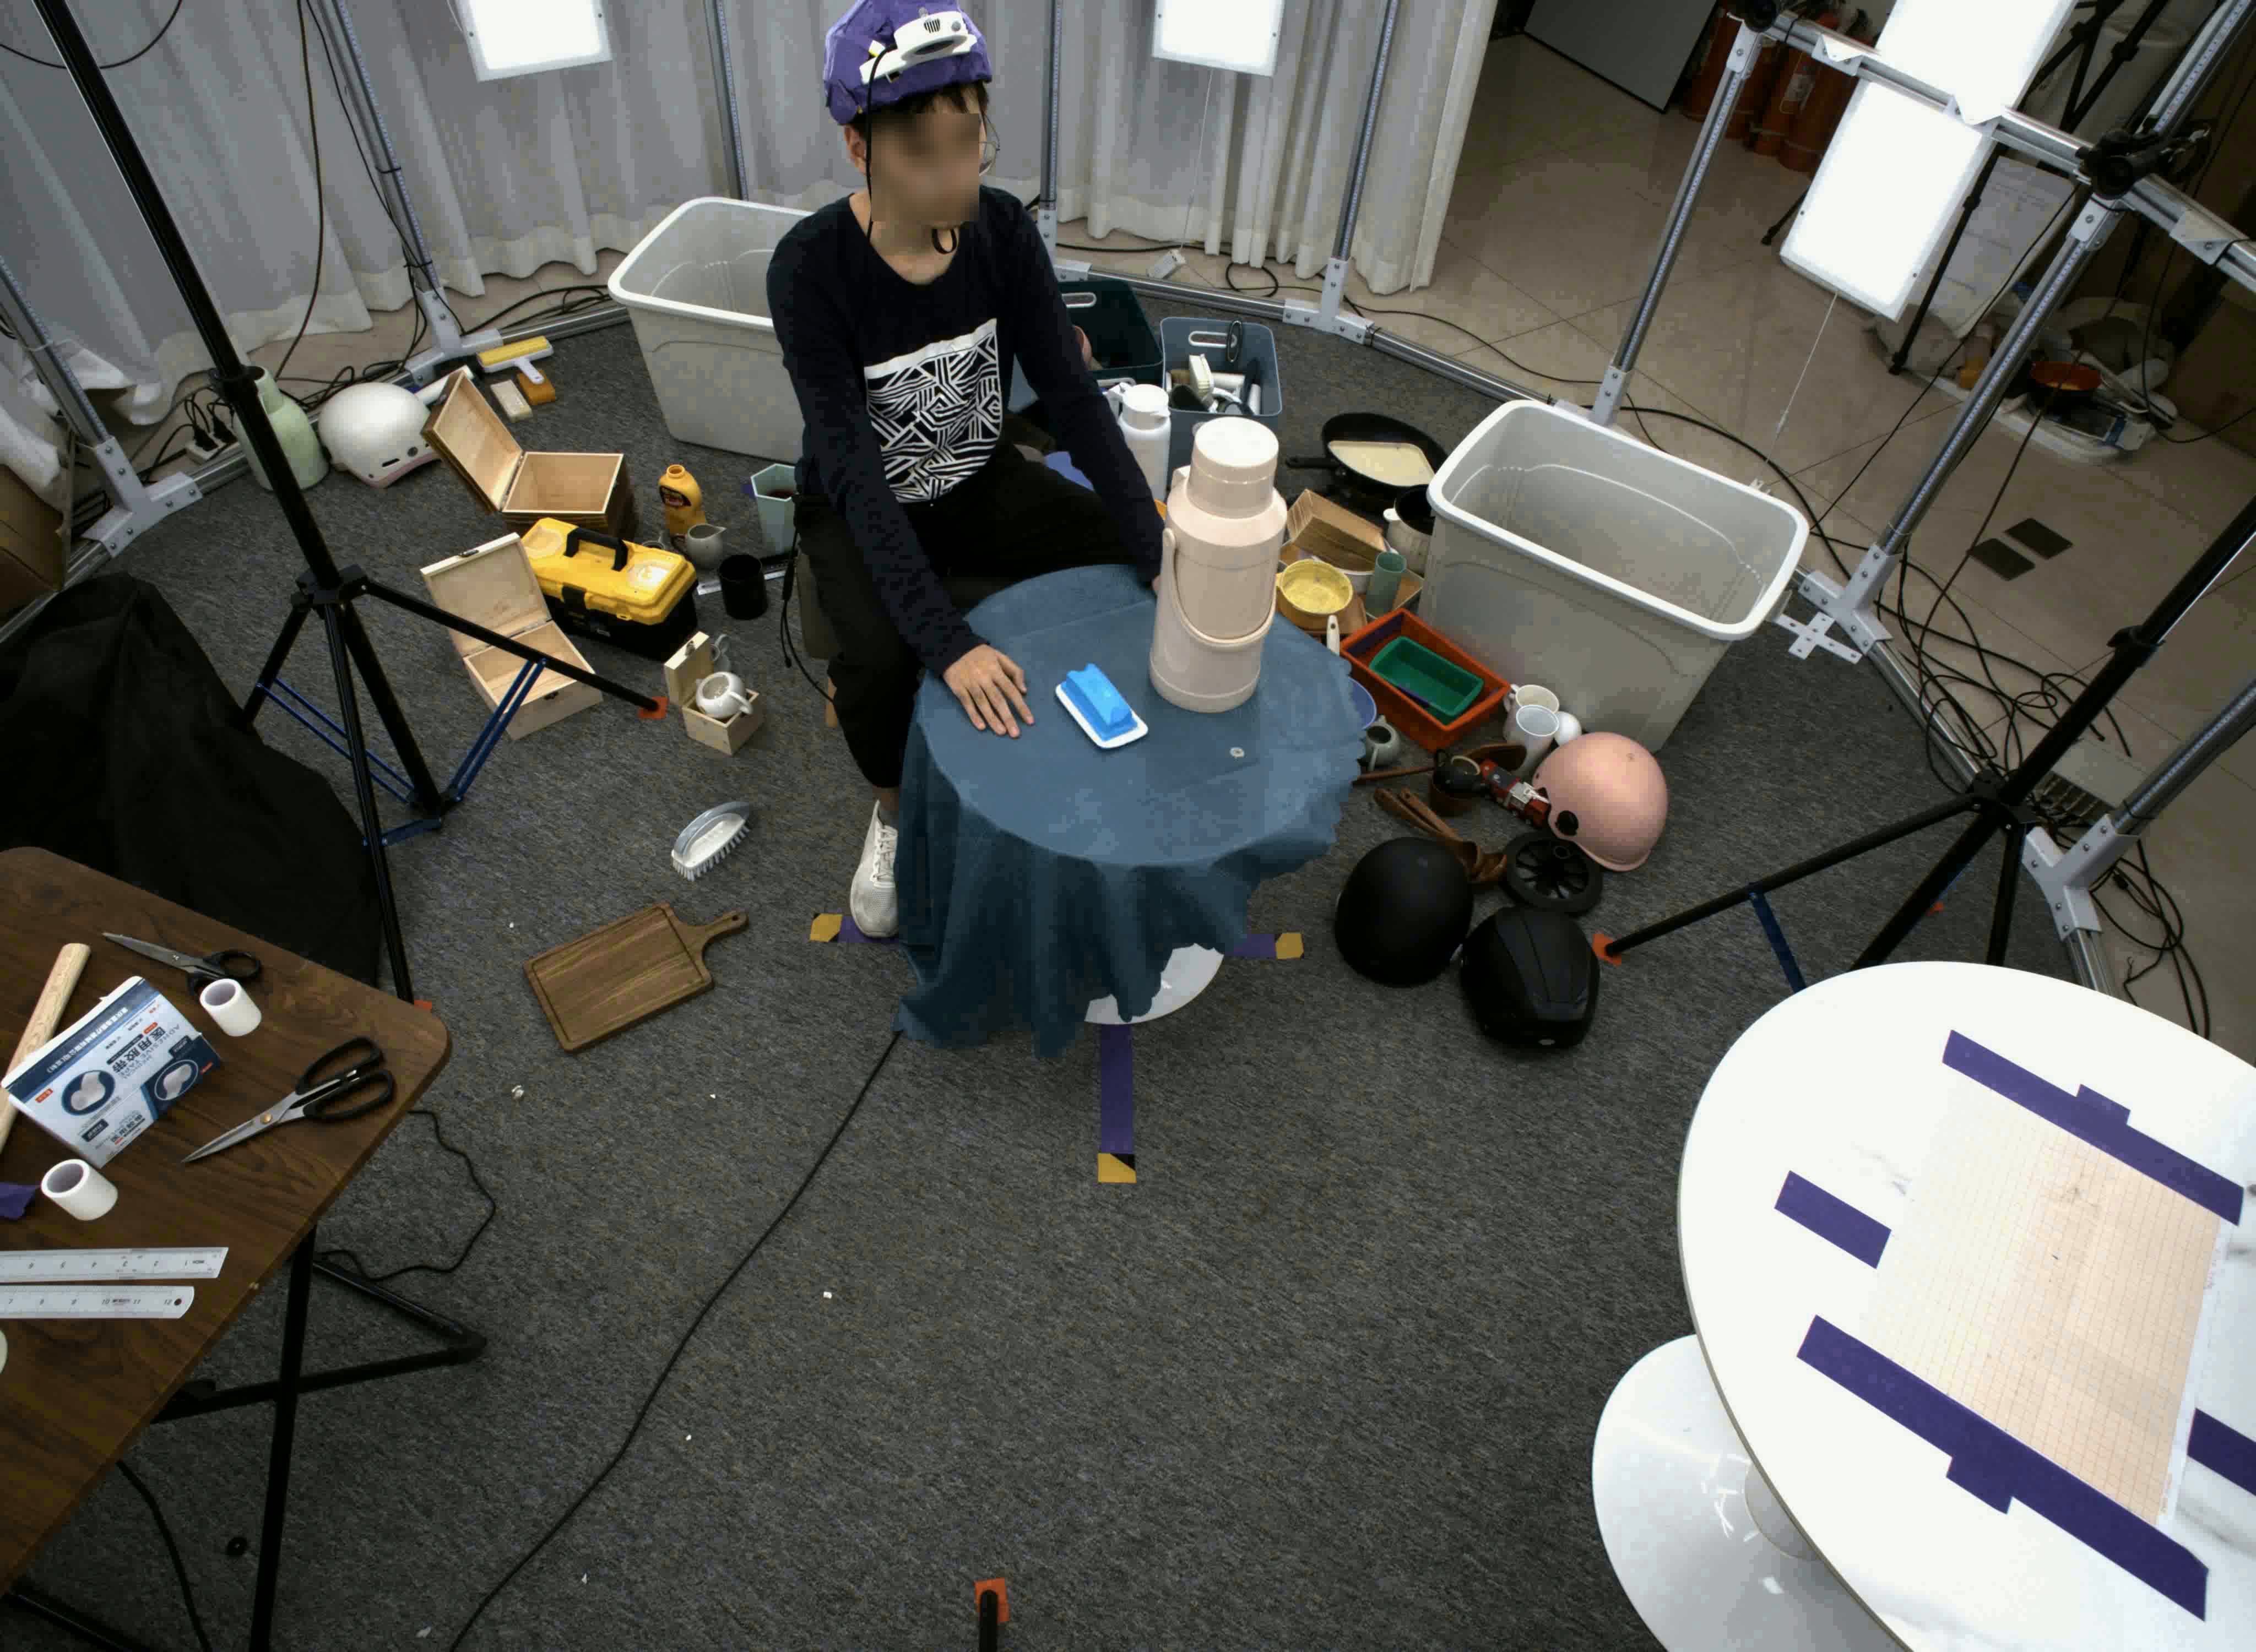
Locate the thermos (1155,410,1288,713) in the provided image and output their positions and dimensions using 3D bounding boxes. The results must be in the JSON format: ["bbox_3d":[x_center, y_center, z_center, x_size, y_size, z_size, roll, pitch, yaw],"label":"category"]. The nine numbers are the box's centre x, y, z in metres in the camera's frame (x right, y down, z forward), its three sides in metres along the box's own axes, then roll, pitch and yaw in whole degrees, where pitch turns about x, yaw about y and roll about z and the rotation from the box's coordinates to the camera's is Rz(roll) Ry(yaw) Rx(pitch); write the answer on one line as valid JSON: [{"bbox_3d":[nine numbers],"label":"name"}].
[{"bbox_3d":[0.118,-0.357,1.730,0.176,0.396,0.211,-22,53,-19],"label":"thermos"}]

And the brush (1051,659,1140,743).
[{"bbox_3d":[-0.043,-0.181,1.781,0.084,0.054,0.147,-19,56,-24],"label":"brush"}]
